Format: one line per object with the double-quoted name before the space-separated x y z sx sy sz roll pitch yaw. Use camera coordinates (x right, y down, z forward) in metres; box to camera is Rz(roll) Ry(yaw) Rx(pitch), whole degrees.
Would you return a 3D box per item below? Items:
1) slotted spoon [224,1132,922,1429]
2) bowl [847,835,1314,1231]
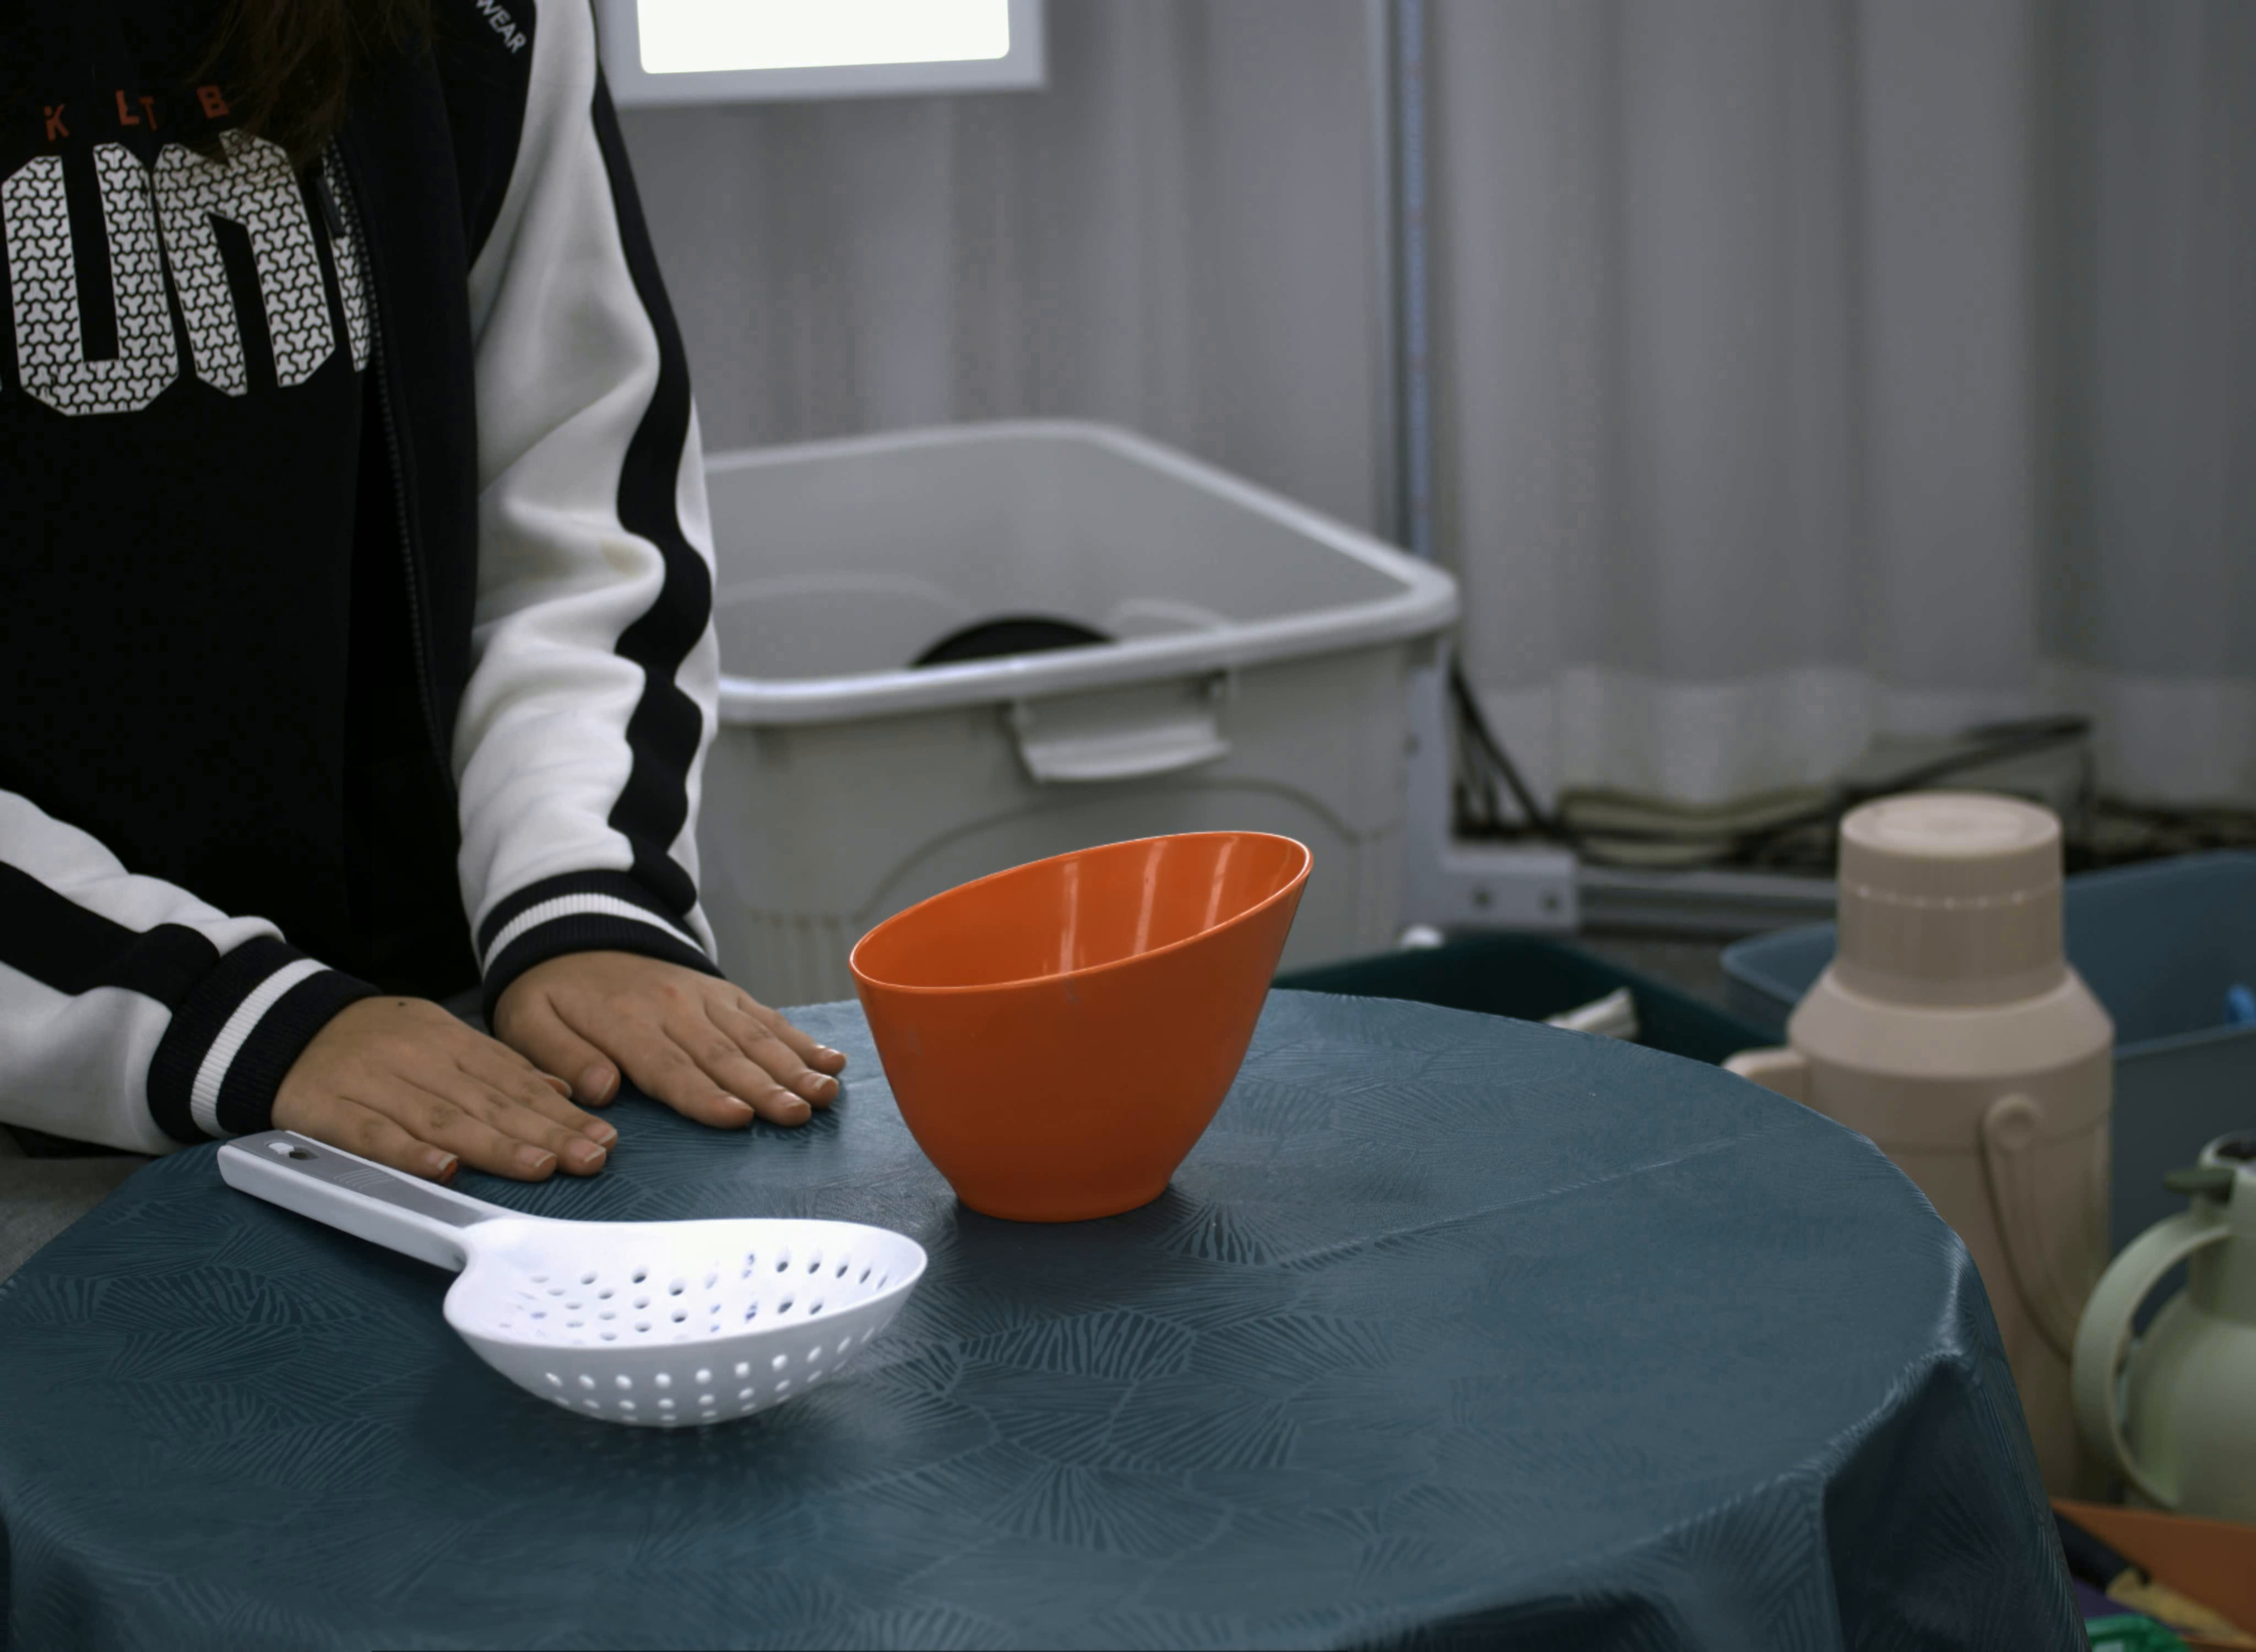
"slotted spoon" -0.185 0.125 1.625 0.135 0.045 0.352 -11 16 -33
"bowl" -0.012 0.067 1.706 0.147 0.104 0.149 -4 16 1
